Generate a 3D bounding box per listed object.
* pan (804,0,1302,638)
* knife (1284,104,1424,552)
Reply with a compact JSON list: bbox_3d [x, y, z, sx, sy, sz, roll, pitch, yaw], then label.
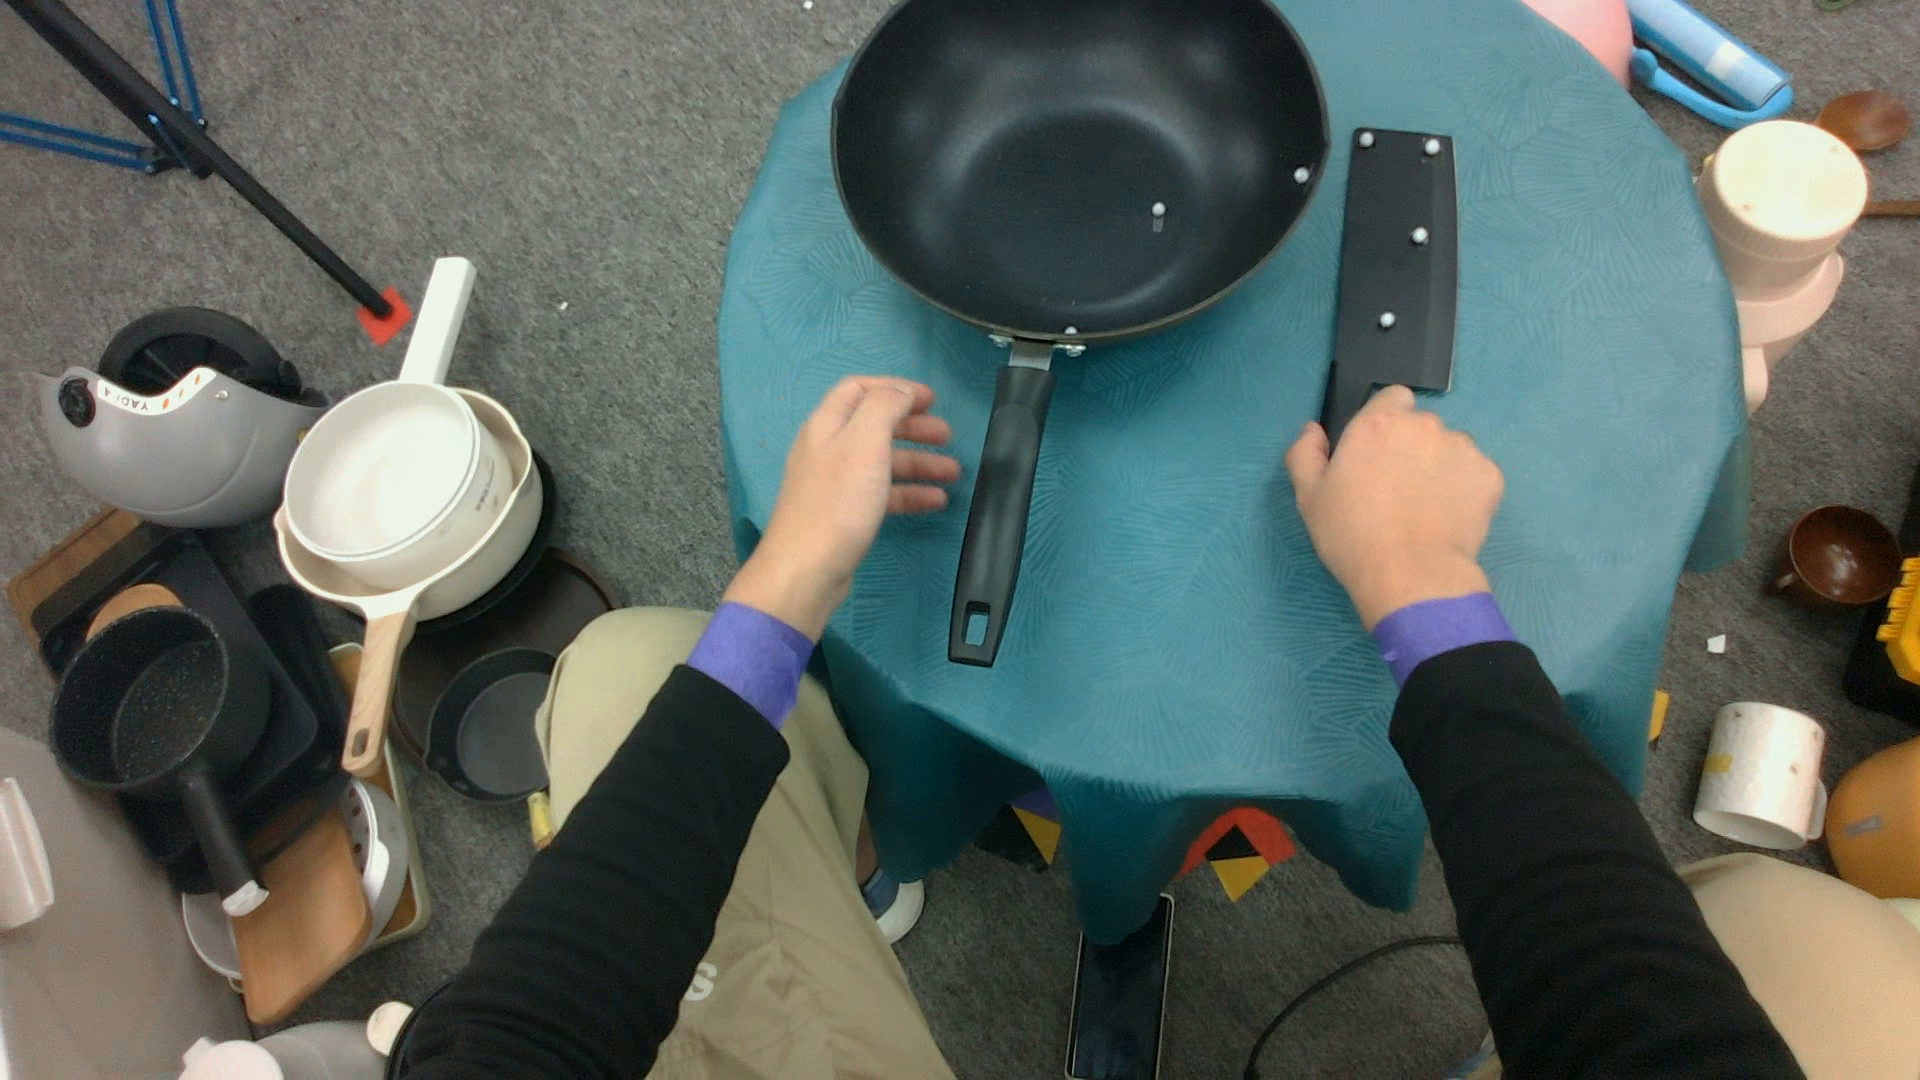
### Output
[{"bbox_3d":[0.037,-0.156,0.792,0.288,0.086,0.465,8,71,8],"label":"pan"},{"bbox_3d":[0.230,-0.134,0.804,0.081,0.021,0.303,11,69,9],"label":"knife"}]
